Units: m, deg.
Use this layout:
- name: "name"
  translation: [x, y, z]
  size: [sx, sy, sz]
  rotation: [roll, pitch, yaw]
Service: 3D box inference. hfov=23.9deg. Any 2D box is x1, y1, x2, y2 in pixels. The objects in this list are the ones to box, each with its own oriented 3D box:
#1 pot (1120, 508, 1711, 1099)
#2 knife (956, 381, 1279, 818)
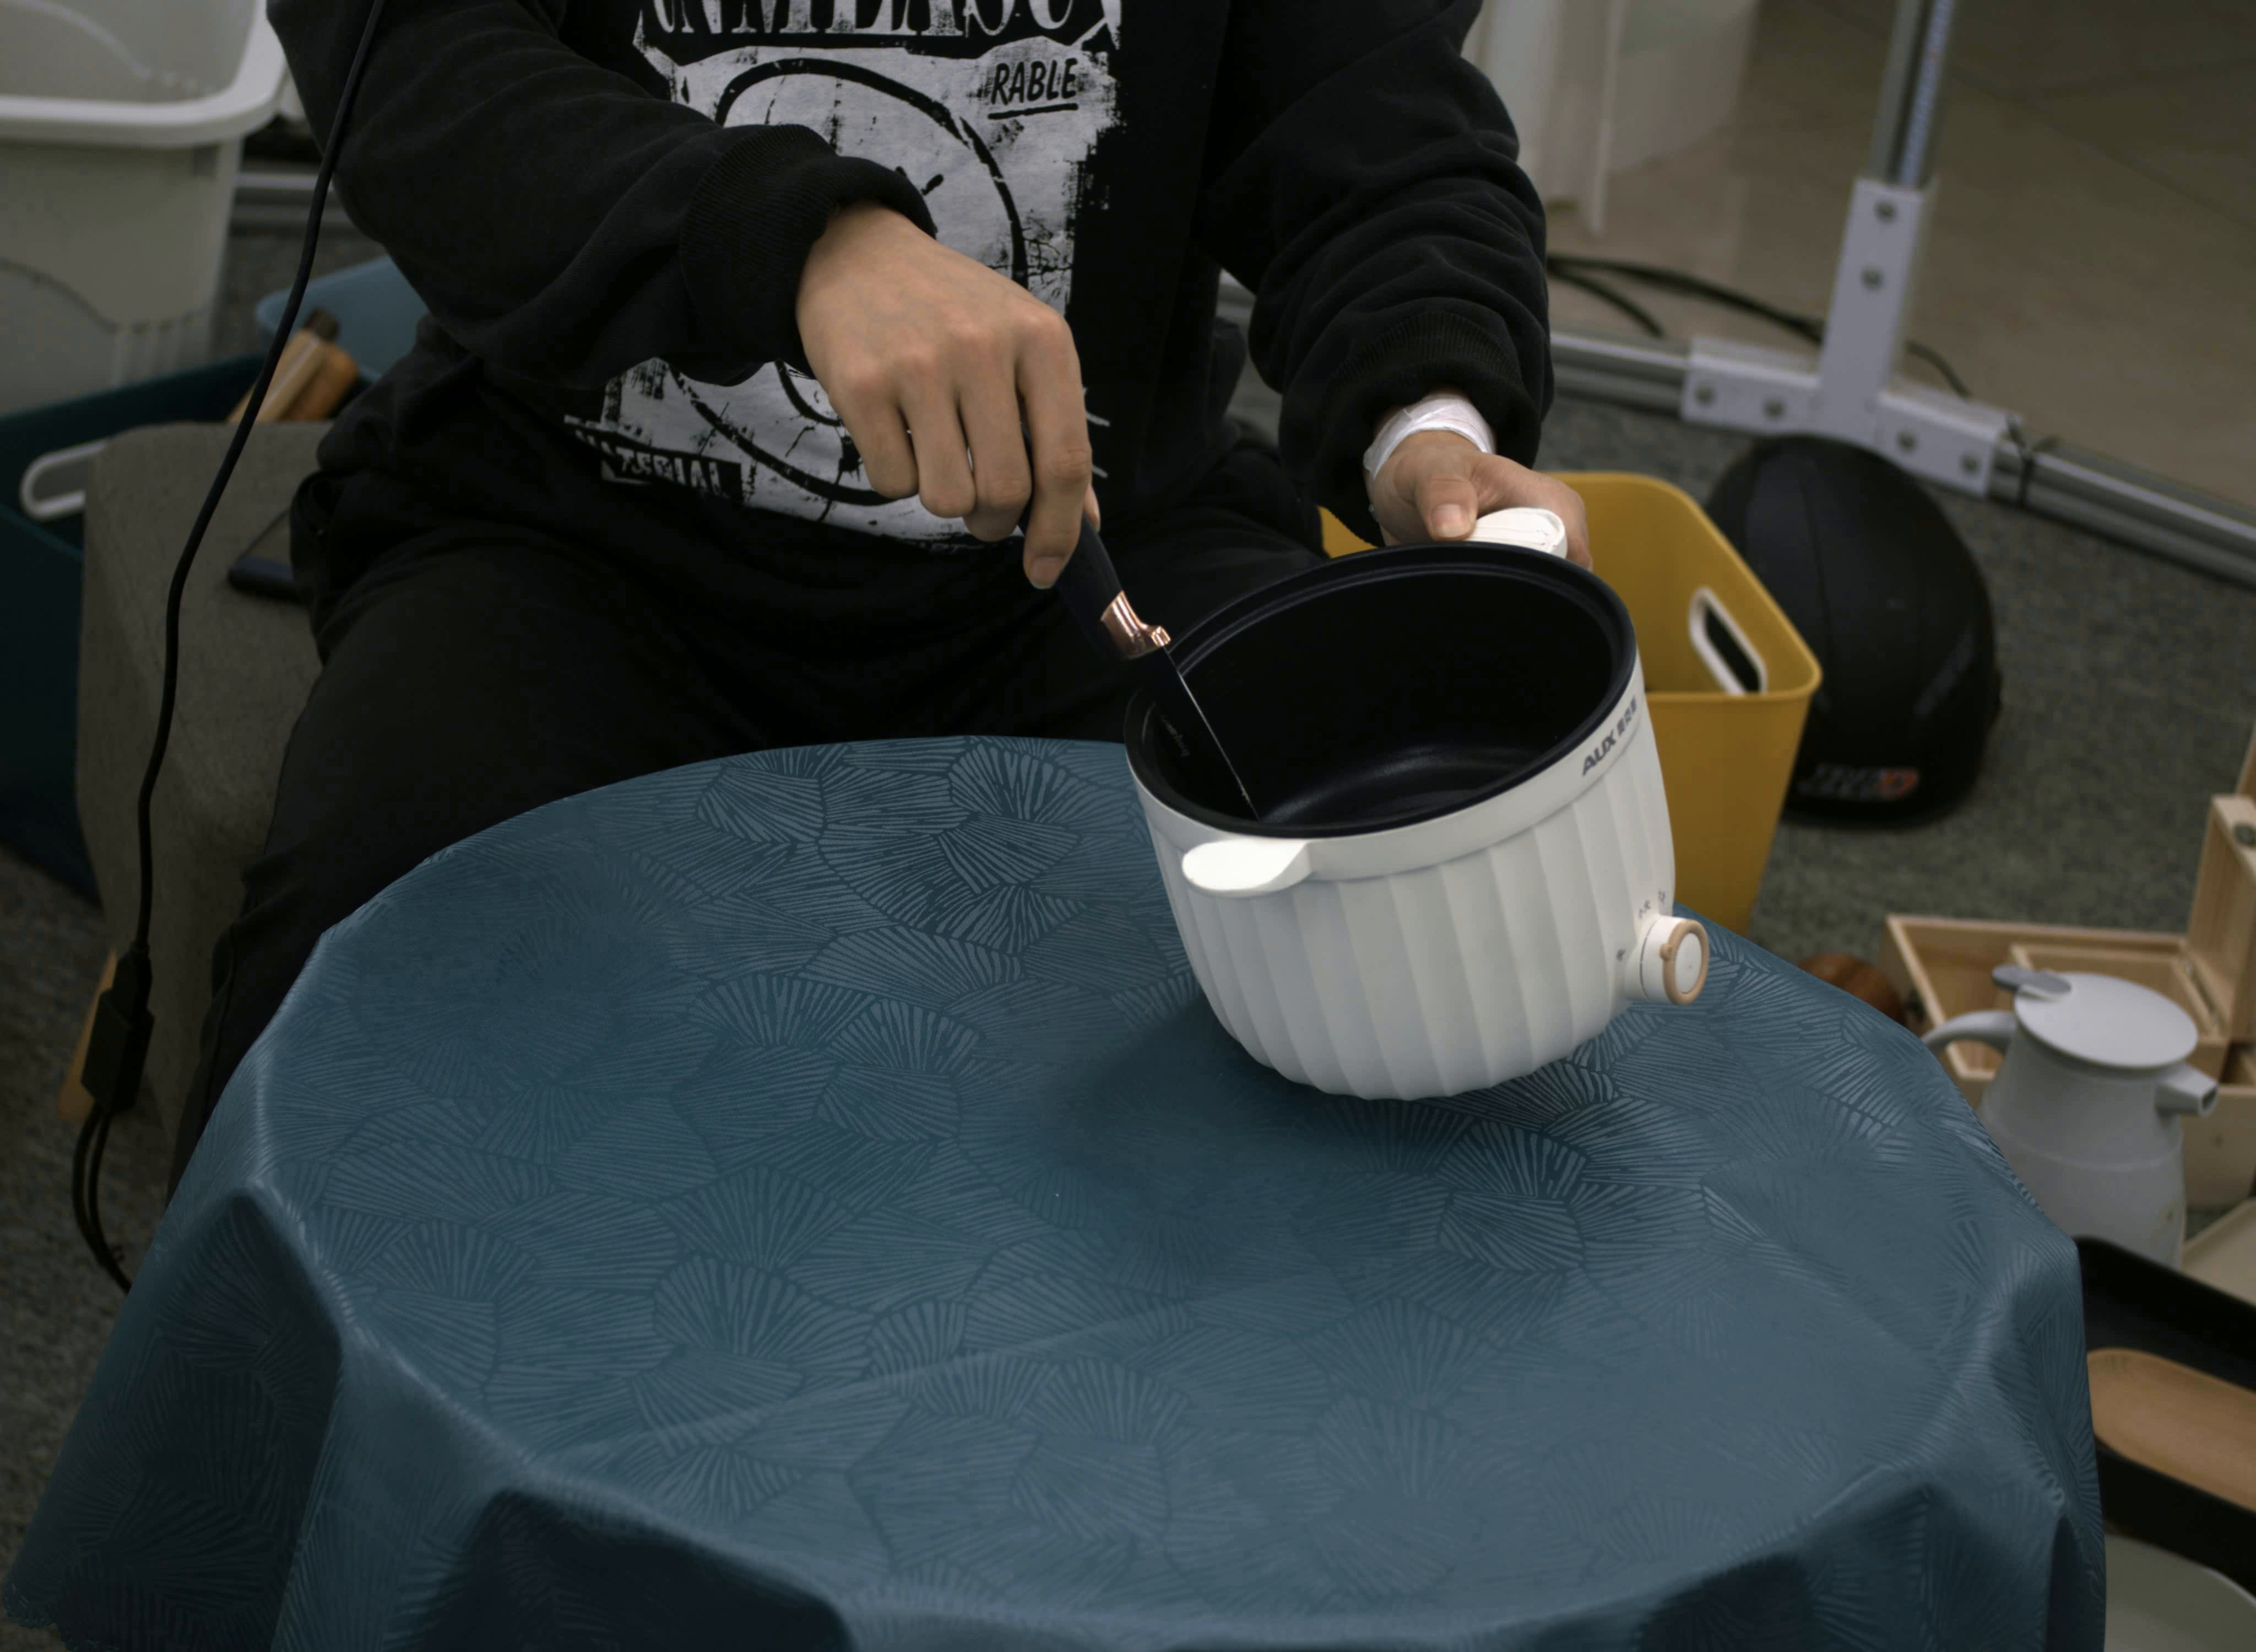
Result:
- name: "pot"
  translation: [0.106, 0.003, 1.873]
  size: [0.191, 0.142, 0.241]
  rotation: [3, 37, 34]
- name: "knife"
  translation: [0.006, -0.059, 1.850]
  size: [0.026, 0.225, 0.017]
  rotation: [-28, 10, 22]
